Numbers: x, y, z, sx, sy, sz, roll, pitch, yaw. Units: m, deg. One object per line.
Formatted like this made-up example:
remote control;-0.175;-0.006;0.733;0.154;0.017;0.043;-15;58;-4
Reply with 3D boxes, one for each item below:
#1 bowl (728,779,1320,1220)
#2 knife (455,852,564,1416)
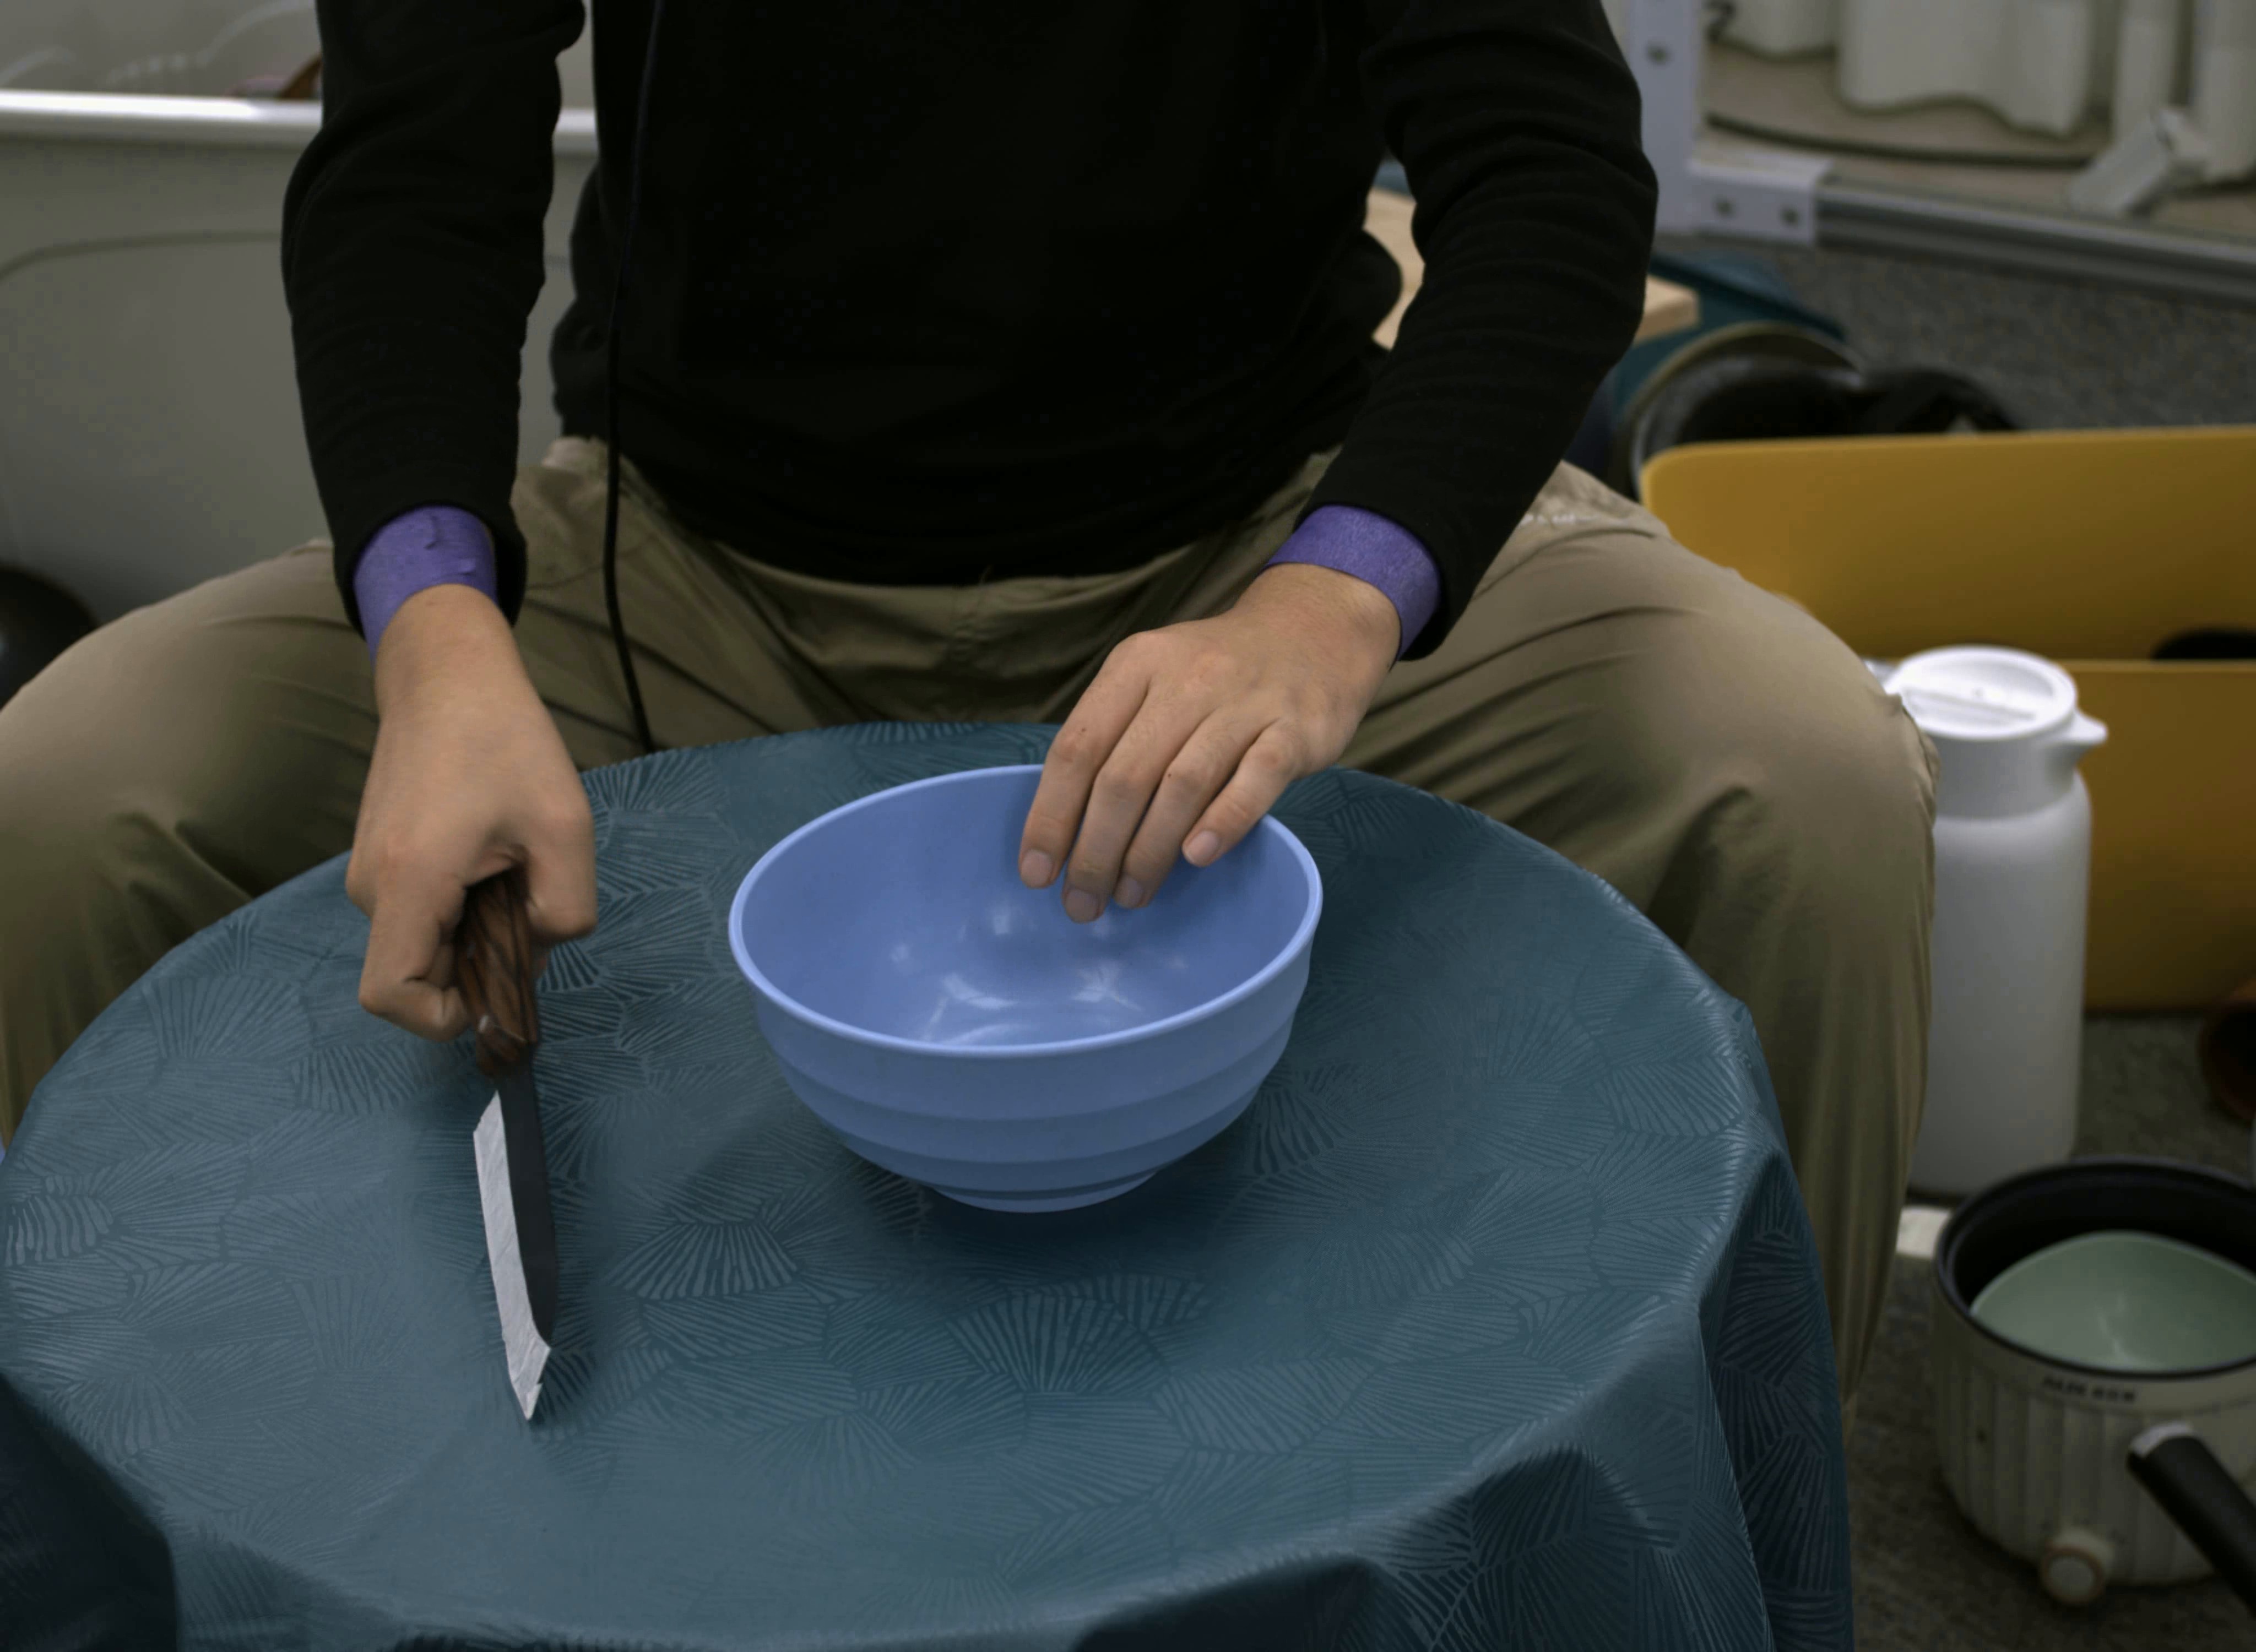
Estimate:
bowl;-0.032;0.067;1.870;0.195;0.094;0.199;-3;25;2
knife;-0.204;0.098;1.862;0.020;0.049;0.294;22;28;-23
